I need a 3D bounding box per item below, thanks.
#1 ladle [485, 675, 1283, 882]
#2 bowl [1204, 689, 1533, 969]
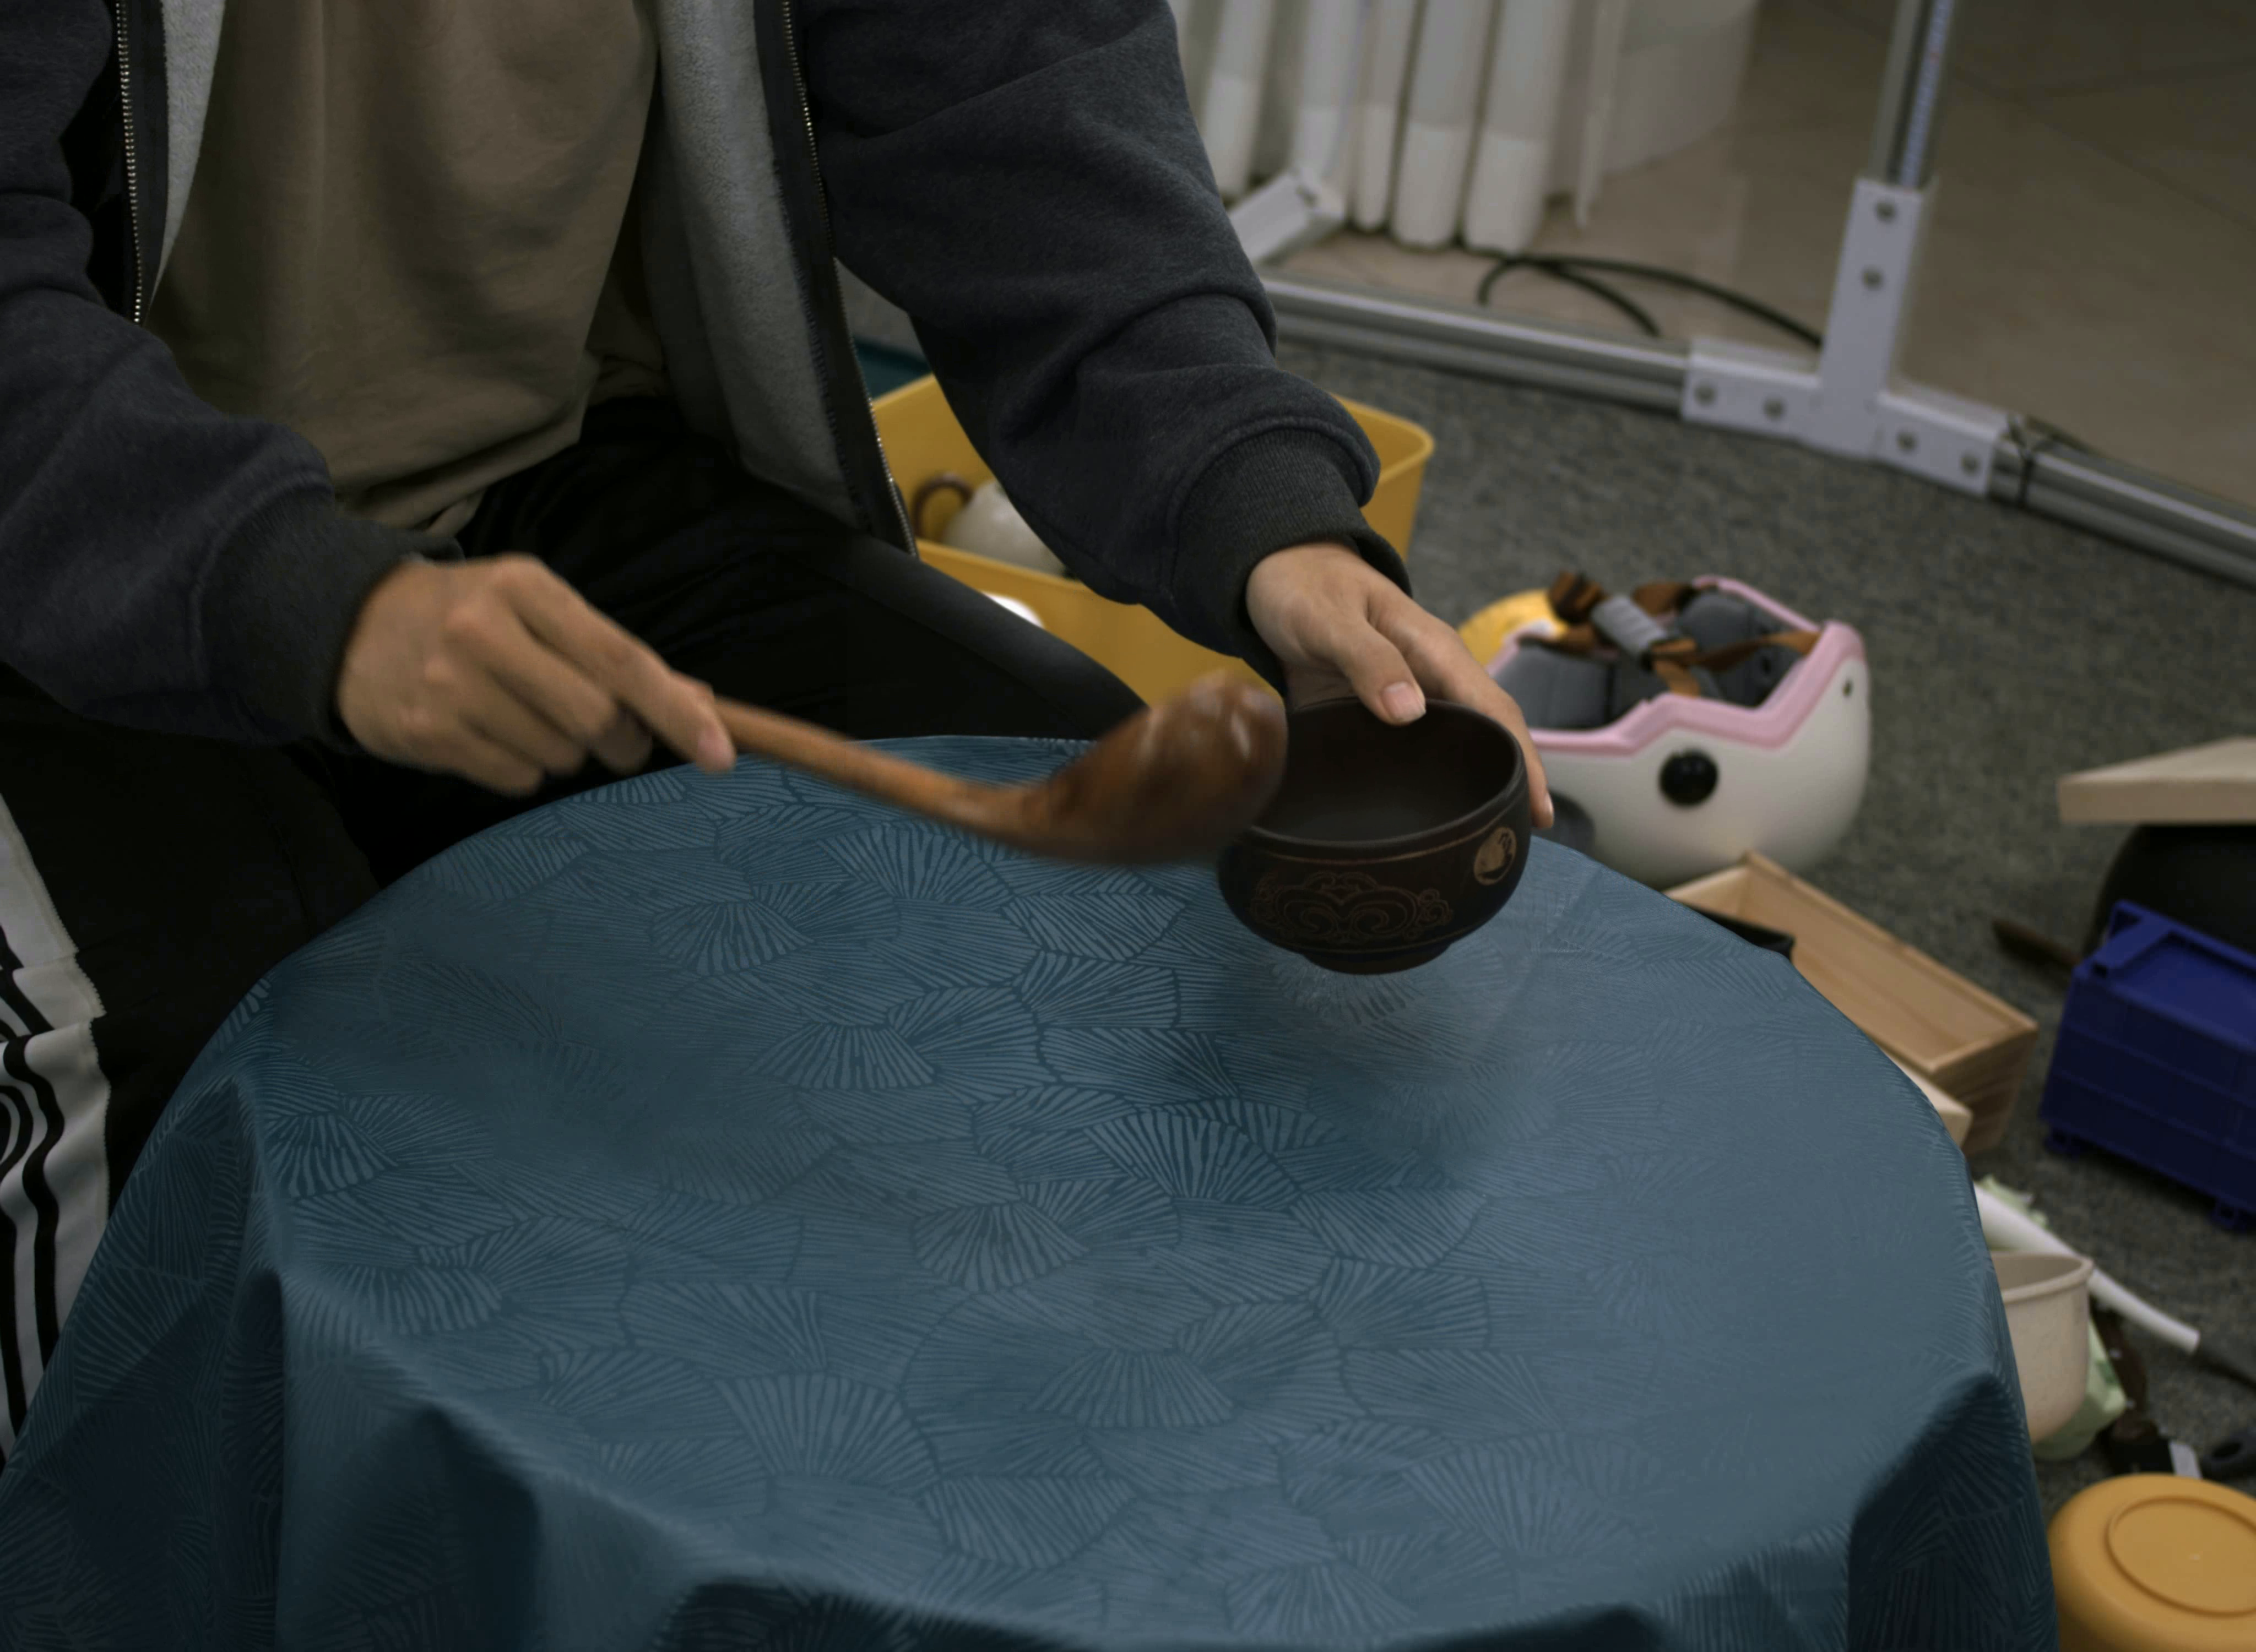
[{"bbox_3d":[-0.081,-0.039,1.745,0.275,0.081,0.077,15,69,23],"label":"ladle"},{"bbox_3d":[0.085,0.007,1.882,0.118,0.069,0.119,-6,27,3],"label":"bowl"}]
